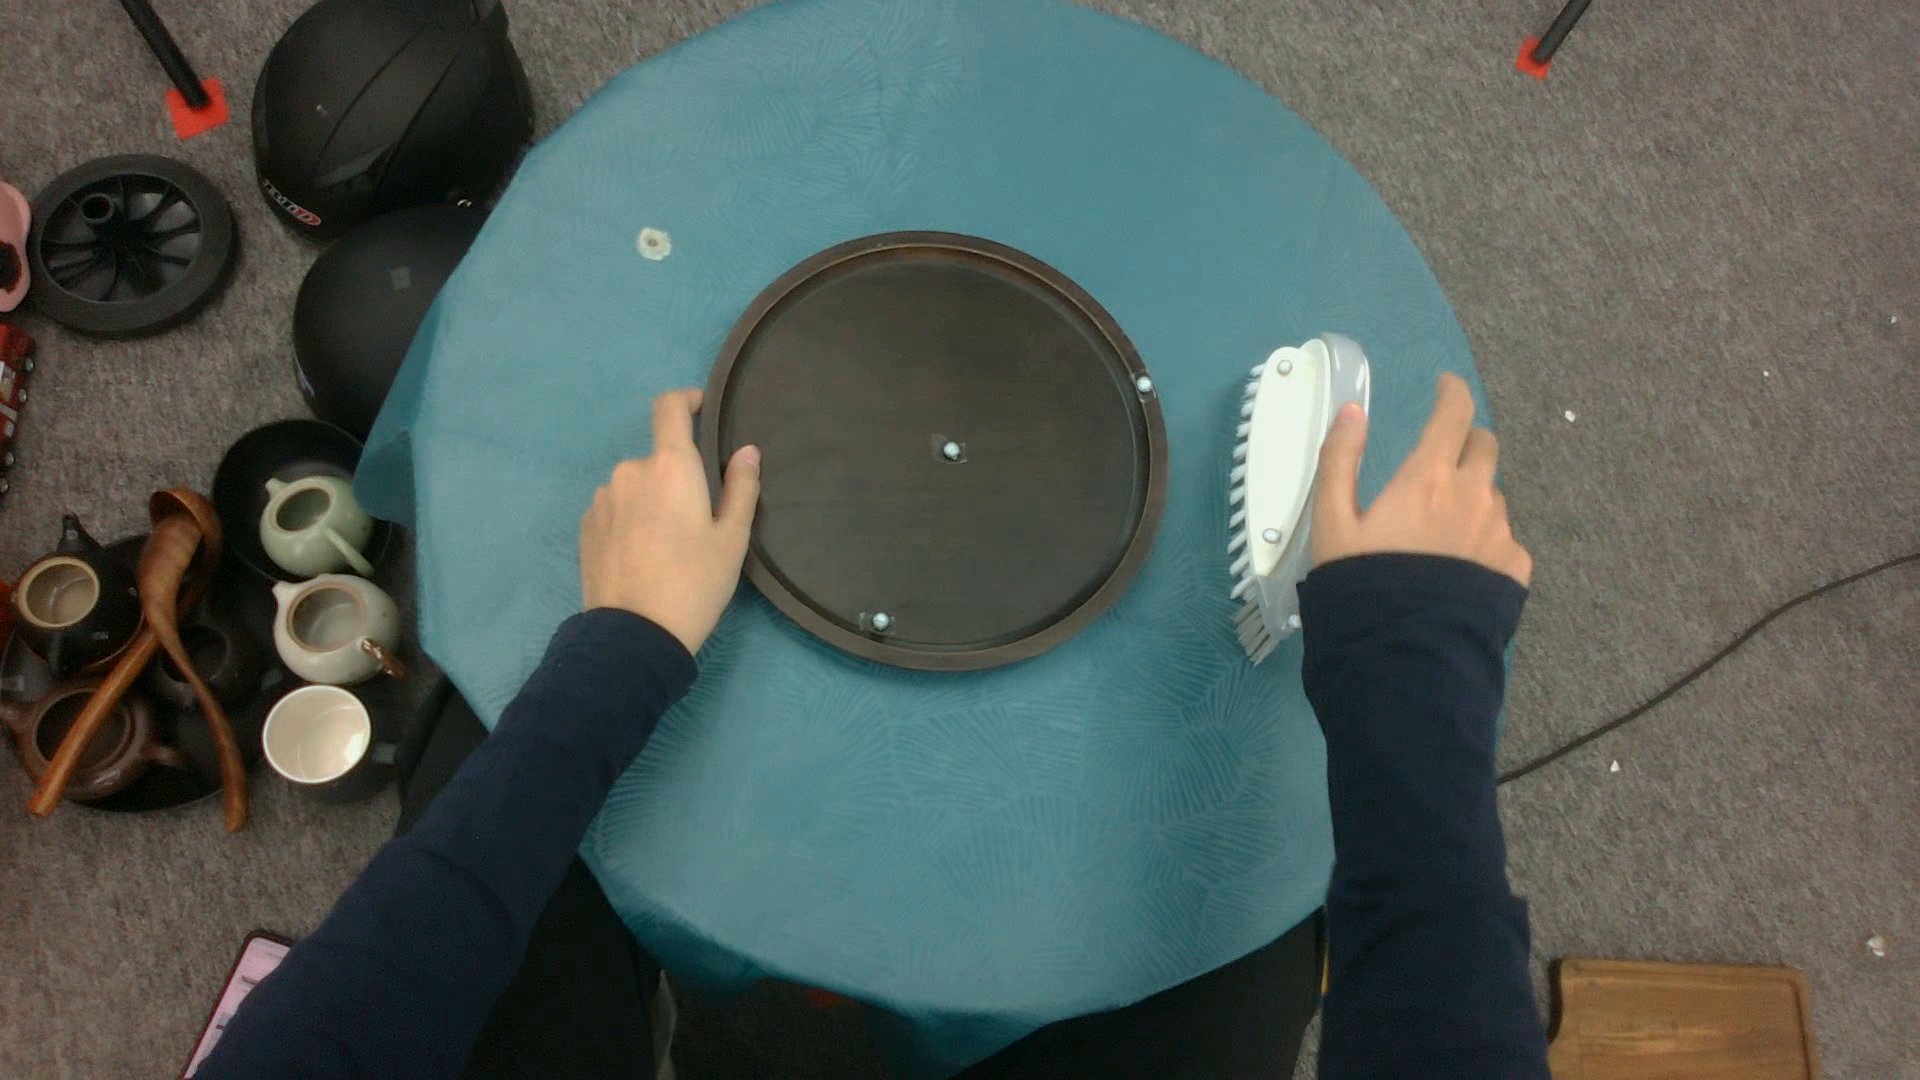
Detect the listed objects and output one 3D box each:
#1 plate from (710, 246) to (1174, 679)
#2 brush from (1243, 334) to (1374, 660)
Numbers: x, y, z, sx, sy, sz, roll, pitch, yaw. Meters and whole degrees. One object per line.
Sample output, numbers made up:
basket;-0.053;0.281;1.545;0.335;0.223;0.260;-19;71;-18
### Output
plate;-0.009;-0.046;0.751;0.255;0.029;0.255;3;70;-8
brush;0.188;-0.028;0.737;0.061;0.094;0.176;13;72;-2
